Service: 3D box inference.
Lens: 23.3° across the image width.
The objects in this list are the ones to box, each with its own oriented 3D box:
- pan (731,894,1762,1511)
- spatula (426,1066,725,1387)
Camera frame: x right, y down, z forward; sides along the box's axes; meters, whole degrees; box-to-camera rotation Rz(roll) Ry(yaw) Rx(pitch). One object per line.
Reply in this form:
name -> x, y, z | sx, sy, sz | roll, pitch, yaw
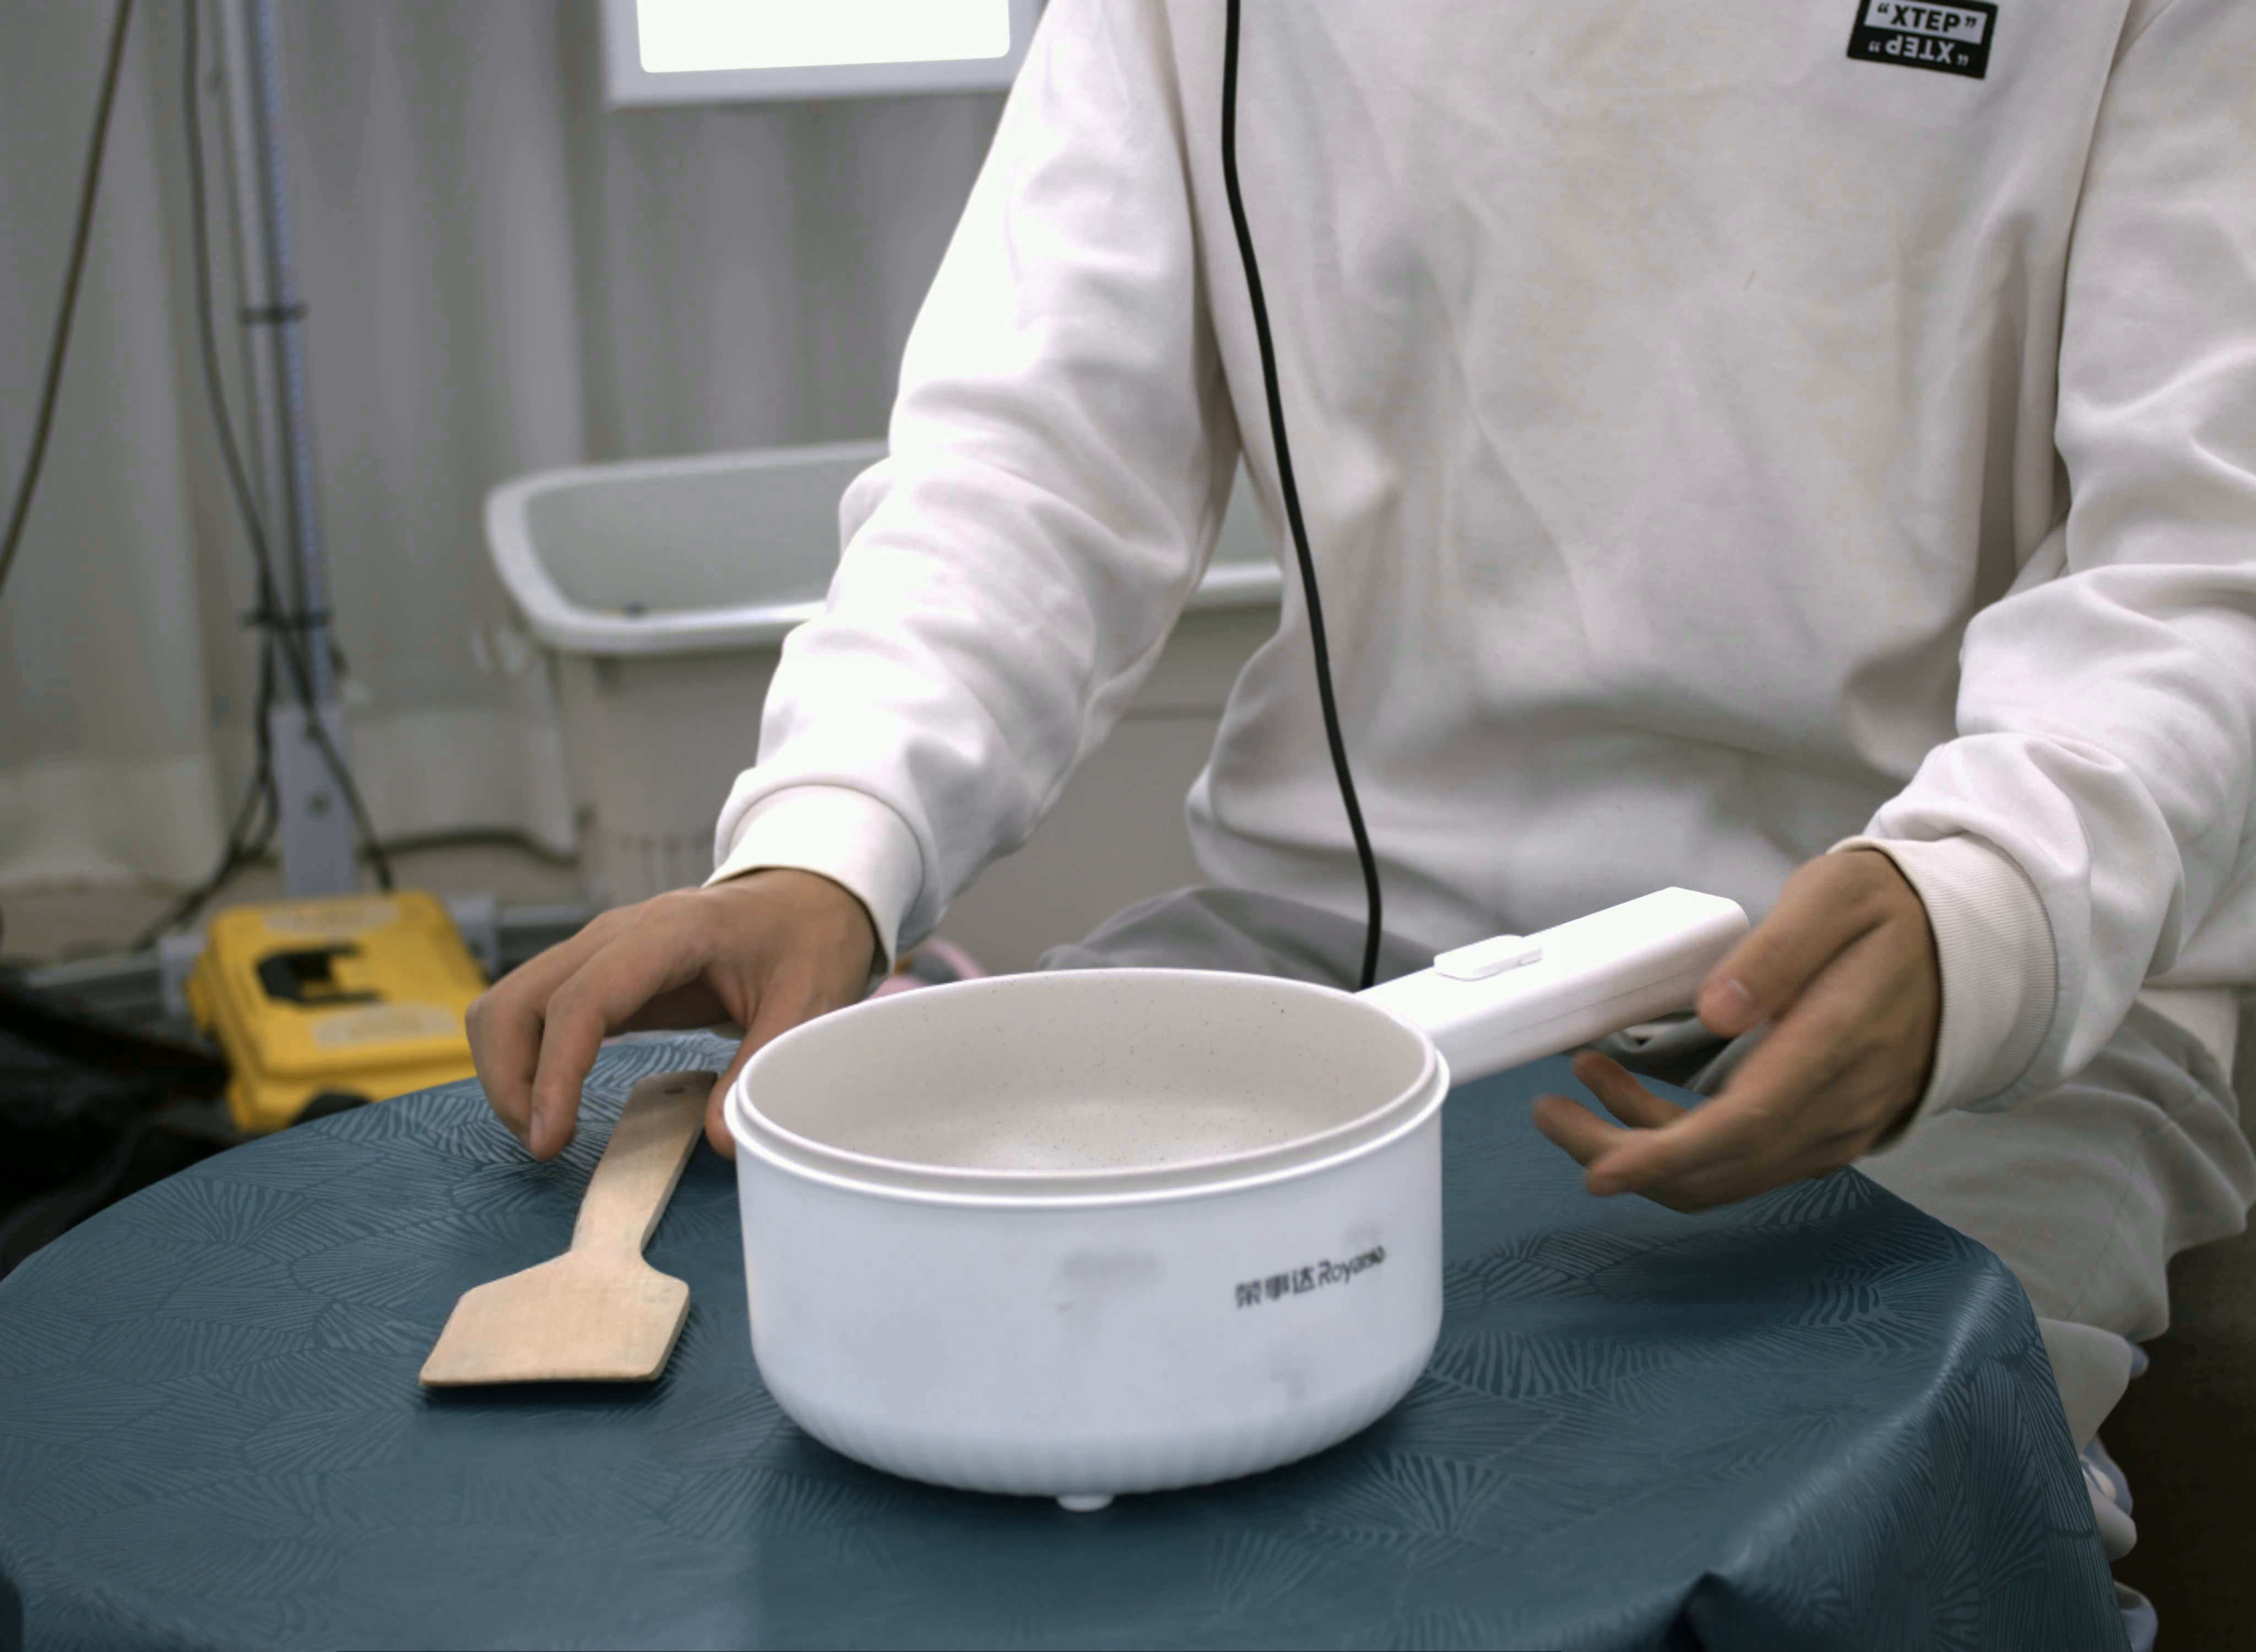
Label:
pan -> 0.049, 0.101, 1.572 | 0.354, 0.102, 0.202 | -14, 18, -40
spatula -> -0.159, 0.122, 1.701 | 0.072, 0.010, 0.295 | -3, 15, 4
